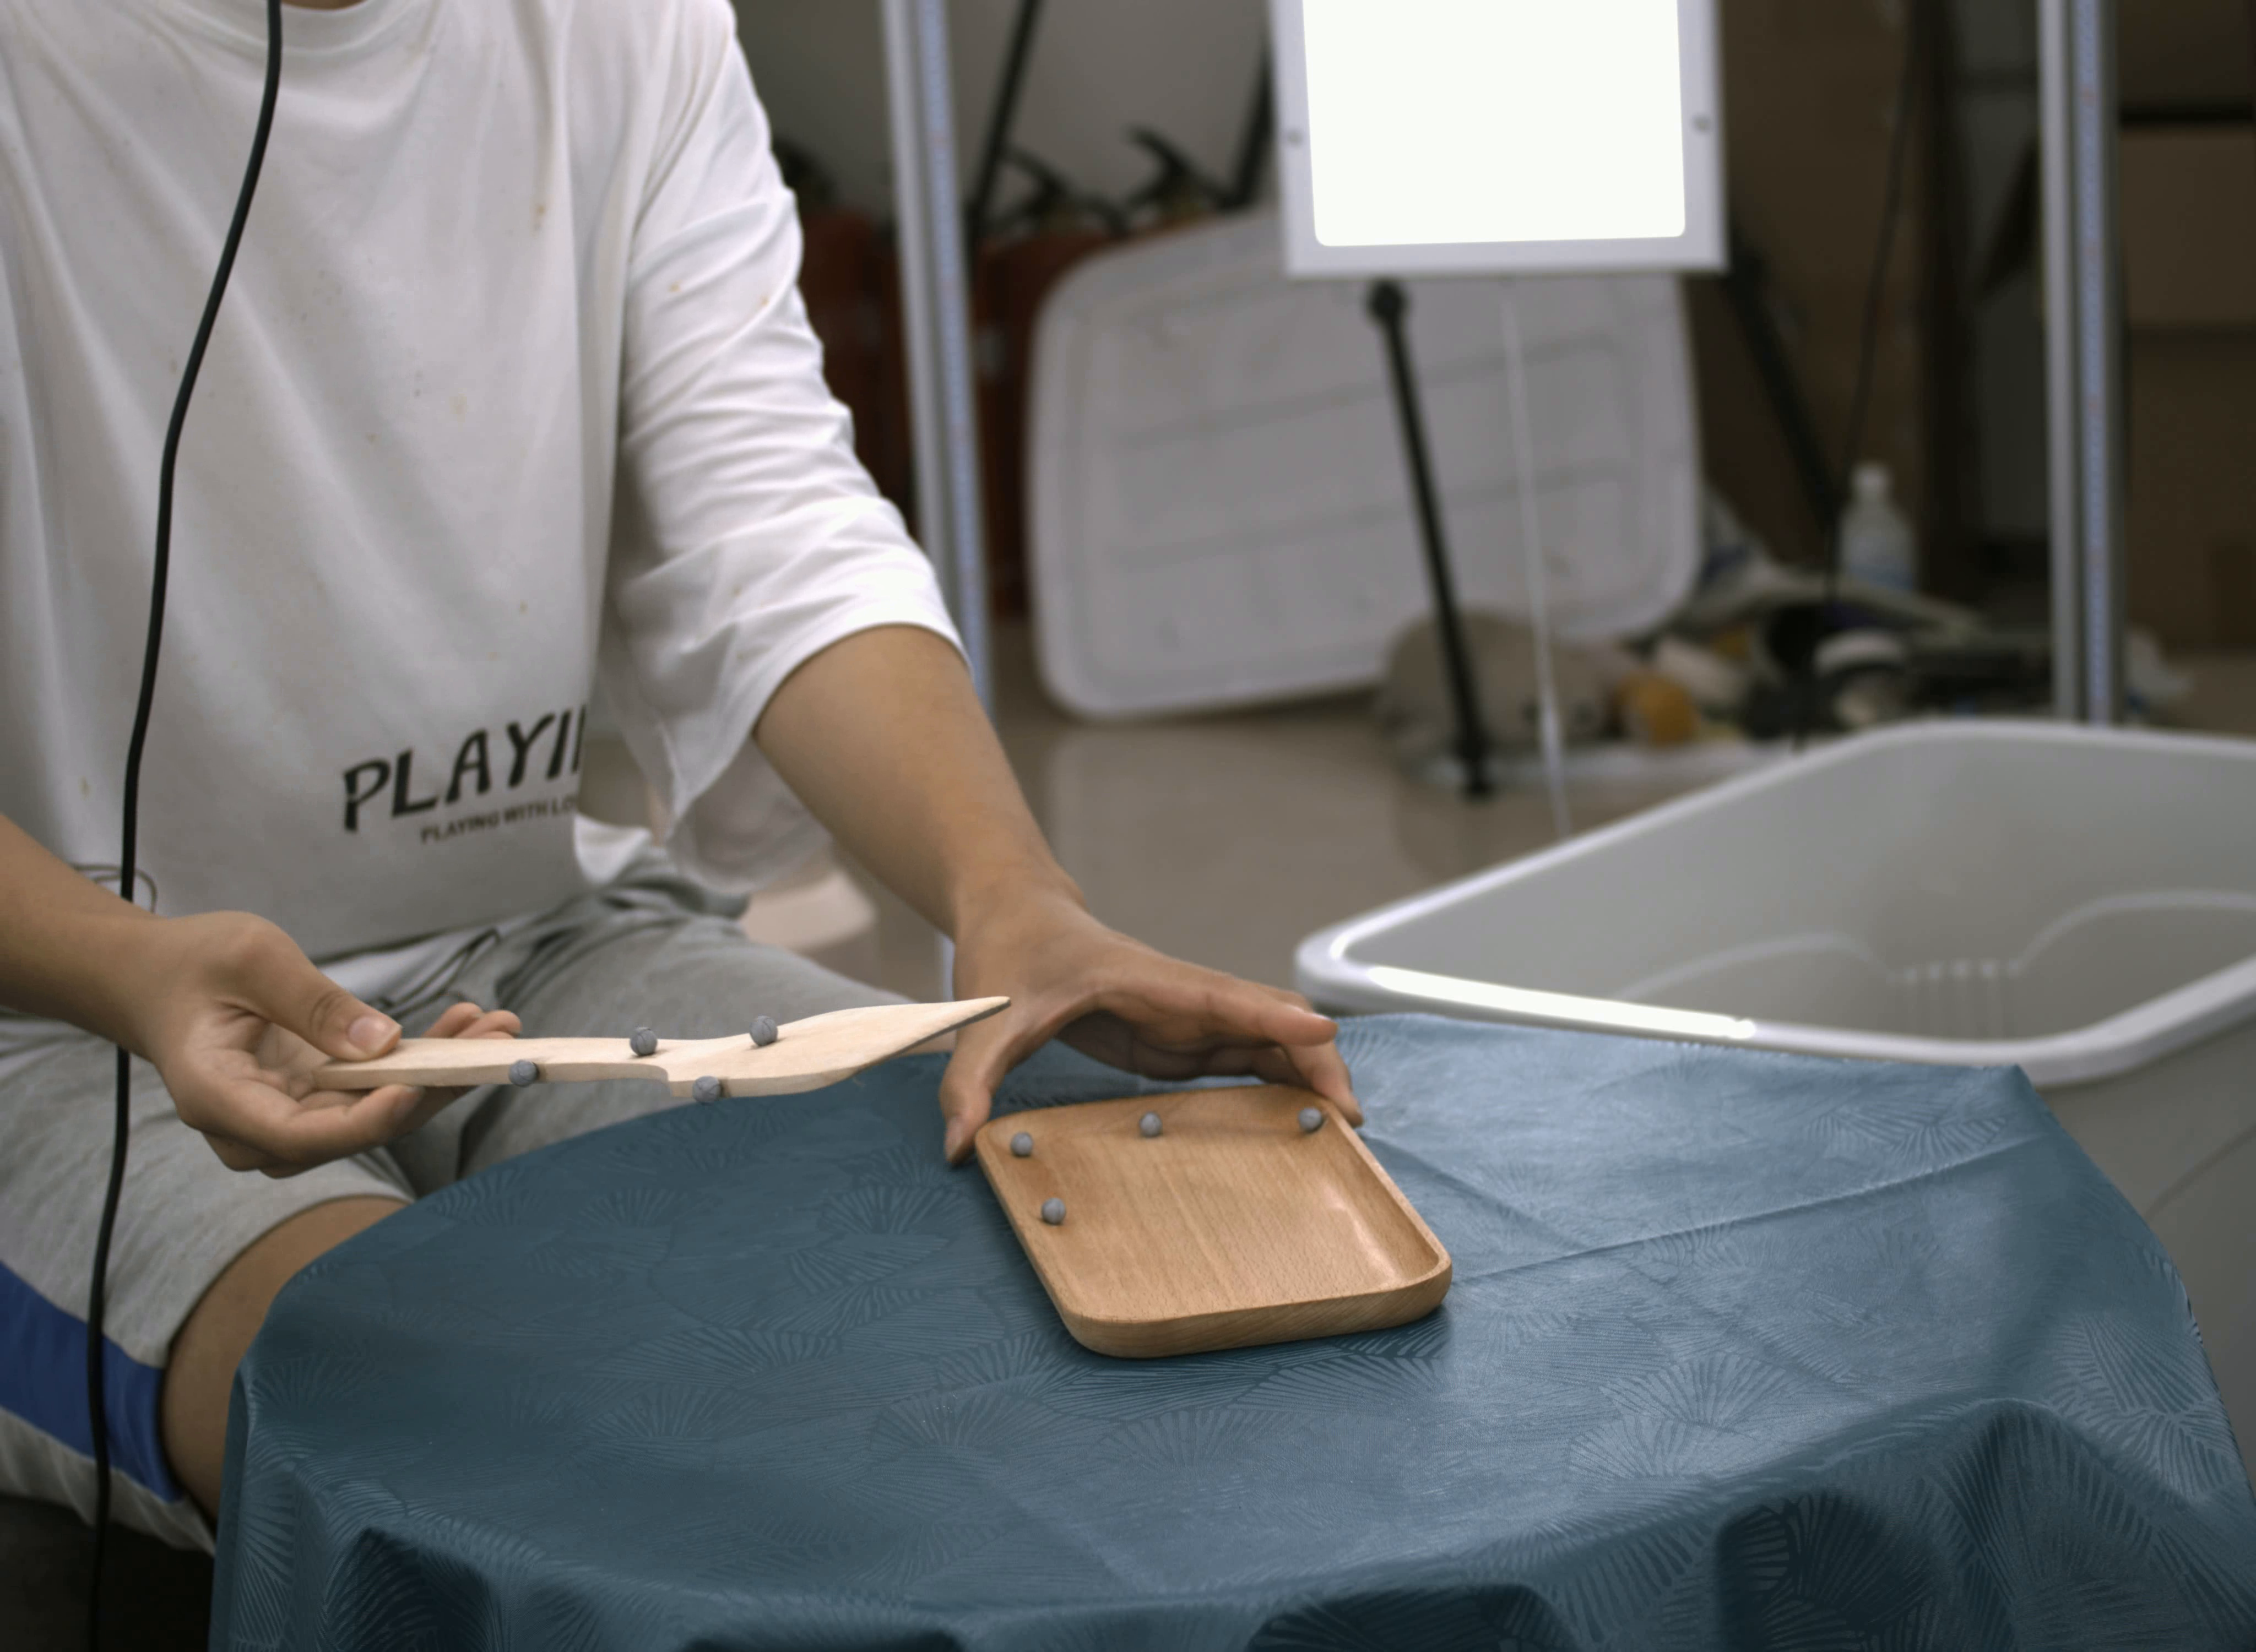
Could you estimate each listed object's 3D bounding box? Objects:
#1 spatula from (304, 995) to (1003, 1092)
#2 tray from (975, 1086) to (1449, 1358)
[{"bbox_3d":[-0.159,0.069,1.689,0.070,0.011,0.300,-23,13,-42],"label":"spatula"},{"bbox_3d":[0.025,0.130,1.842,0.129,0.023,0.251,-9,14,-6],"label":"tray"}]
